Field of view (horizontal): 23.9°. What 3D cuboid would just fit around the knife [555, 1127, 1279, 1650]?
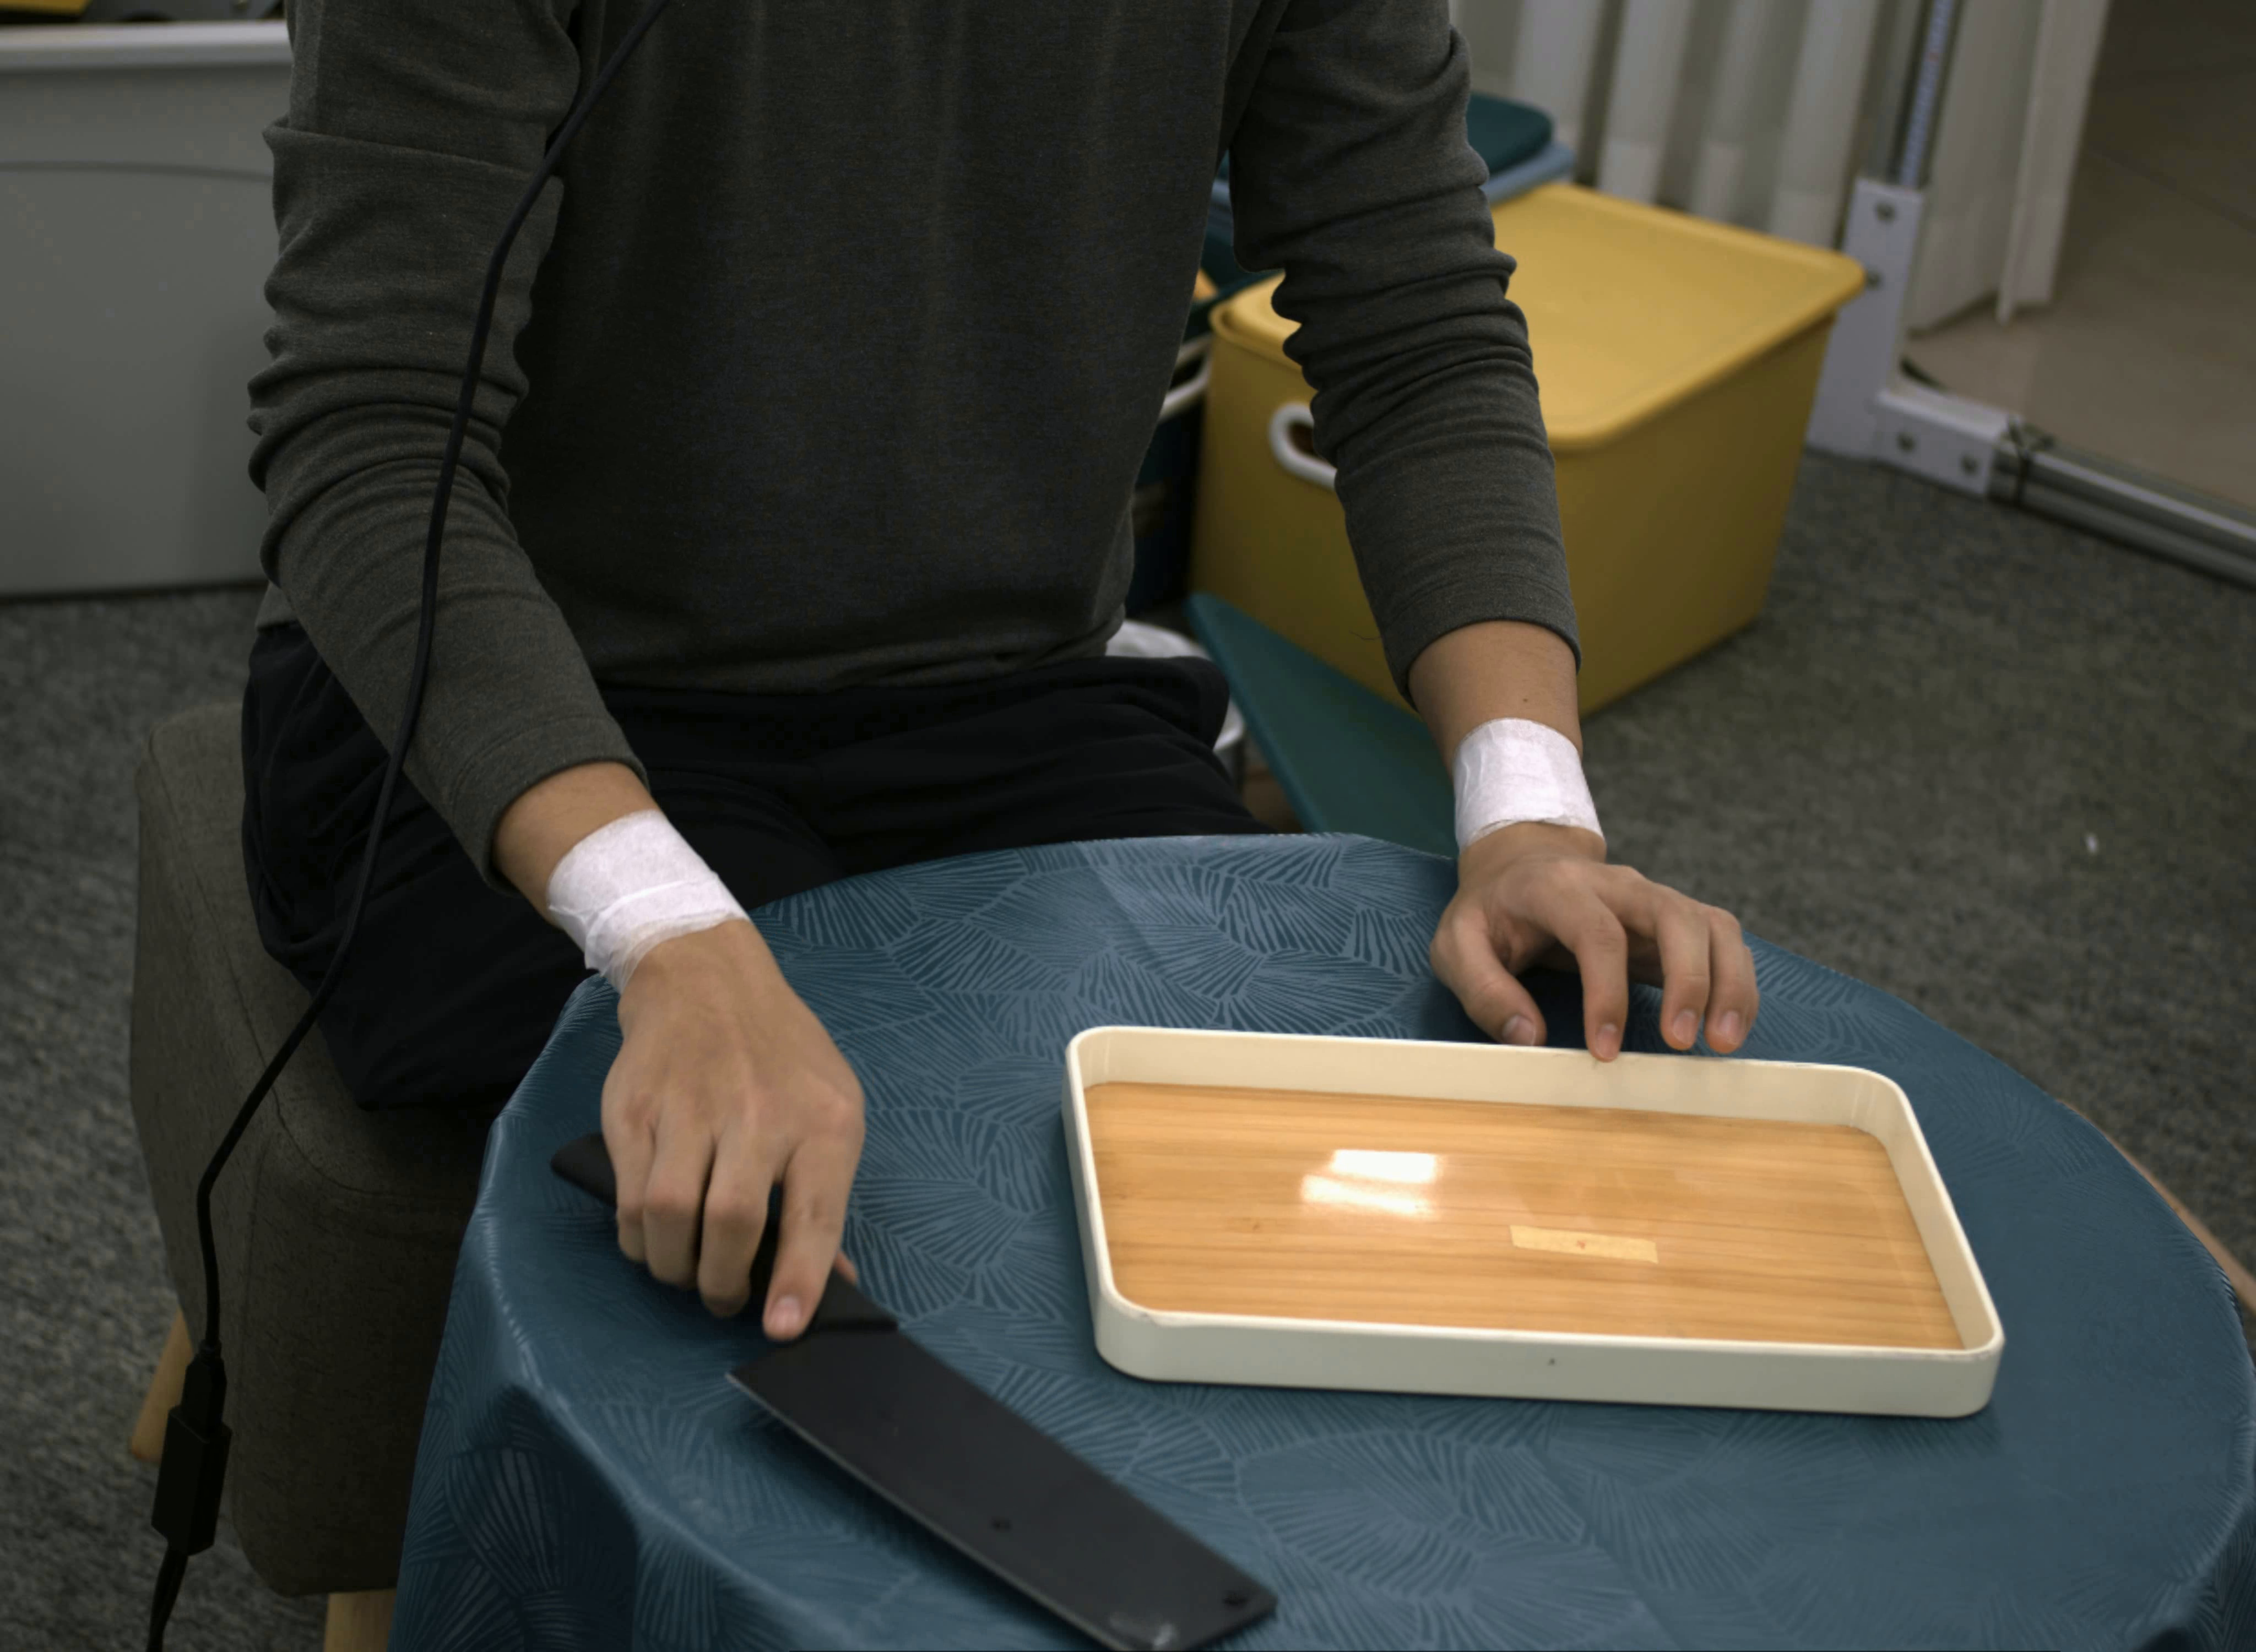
[{"bbox_3d":[-0.078,0.171,1.653,0.080,0.021,0.305,-15,36,-40],"label":"knife"}]

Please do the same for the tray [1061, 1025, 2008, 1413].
[{"bbox_3d":[0.131,0.131,1.791,0.299,0.027,0.193,3,27,-6],"label":"tray"}]
